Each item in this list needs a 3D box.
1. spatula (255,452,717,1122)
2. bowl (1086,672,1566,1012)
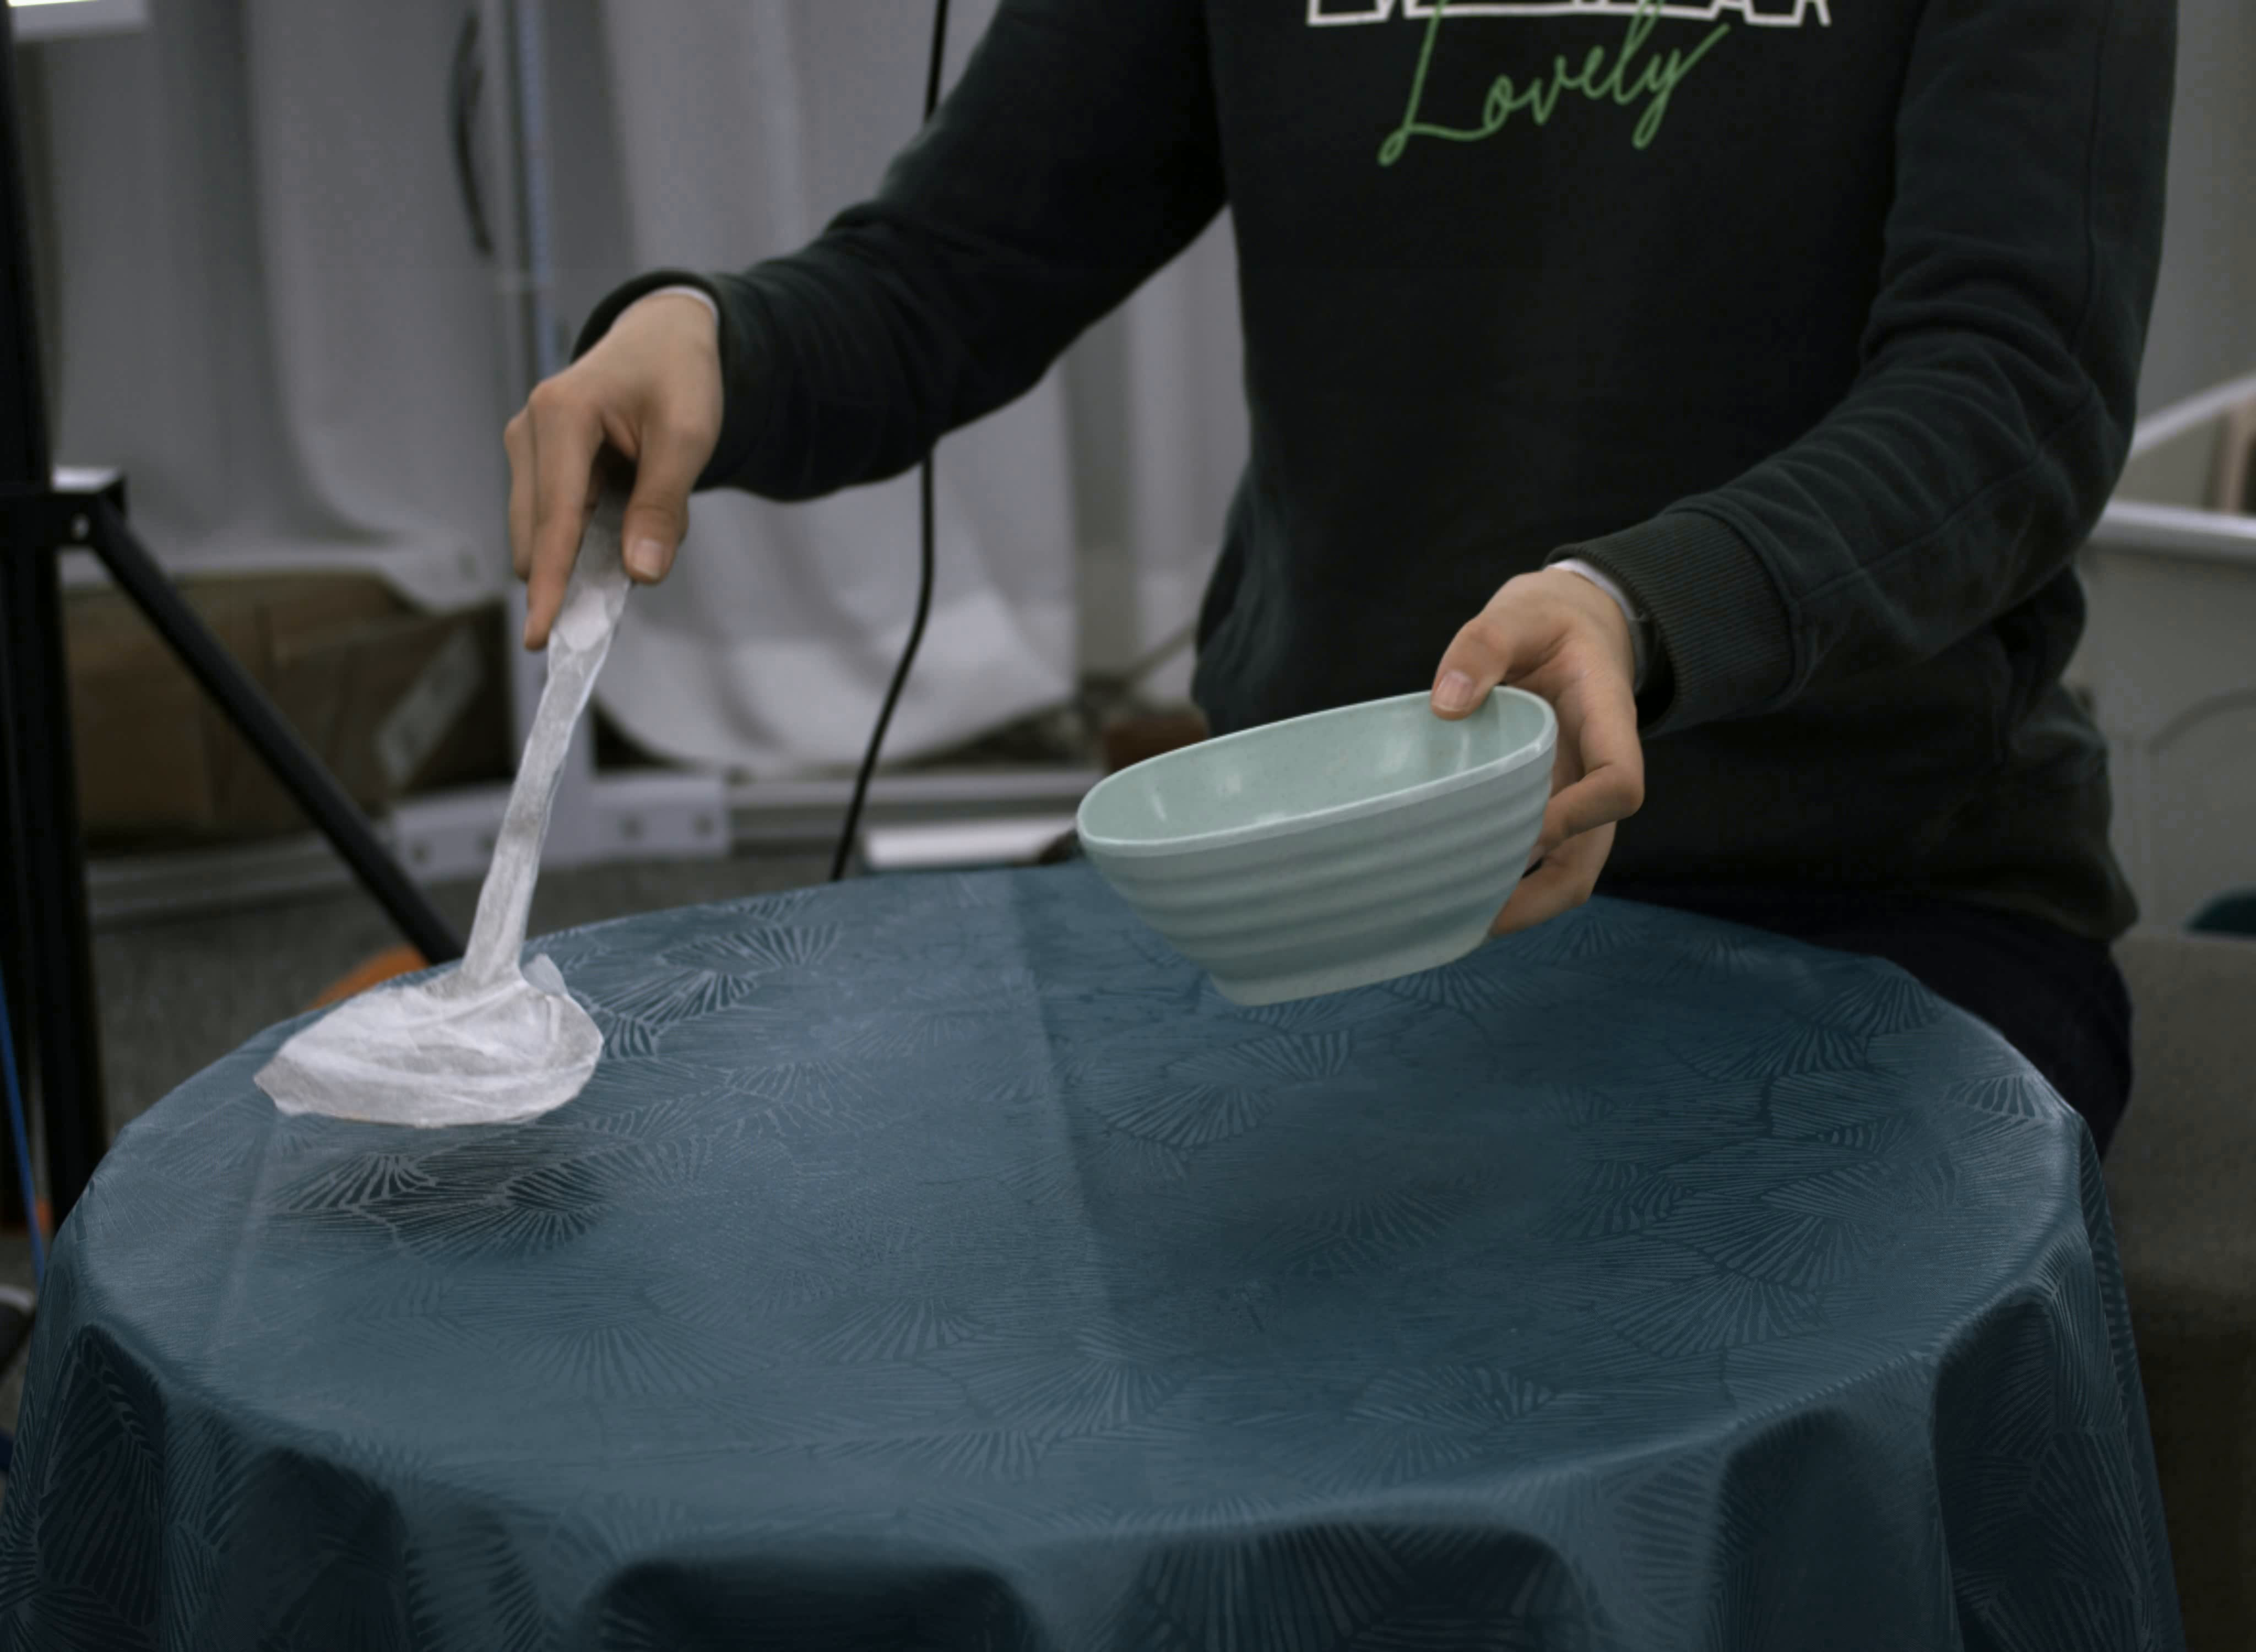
[{"bbox_3d":[-0.182,-0.022,1.689,0.099,0.044,0.366,2,42,11],"label":"spatula"},{"bbox_3d":[0.062,0.008,1.507,0.151,0.058,0.152,-14,14,2],"label":"bowl"}]
